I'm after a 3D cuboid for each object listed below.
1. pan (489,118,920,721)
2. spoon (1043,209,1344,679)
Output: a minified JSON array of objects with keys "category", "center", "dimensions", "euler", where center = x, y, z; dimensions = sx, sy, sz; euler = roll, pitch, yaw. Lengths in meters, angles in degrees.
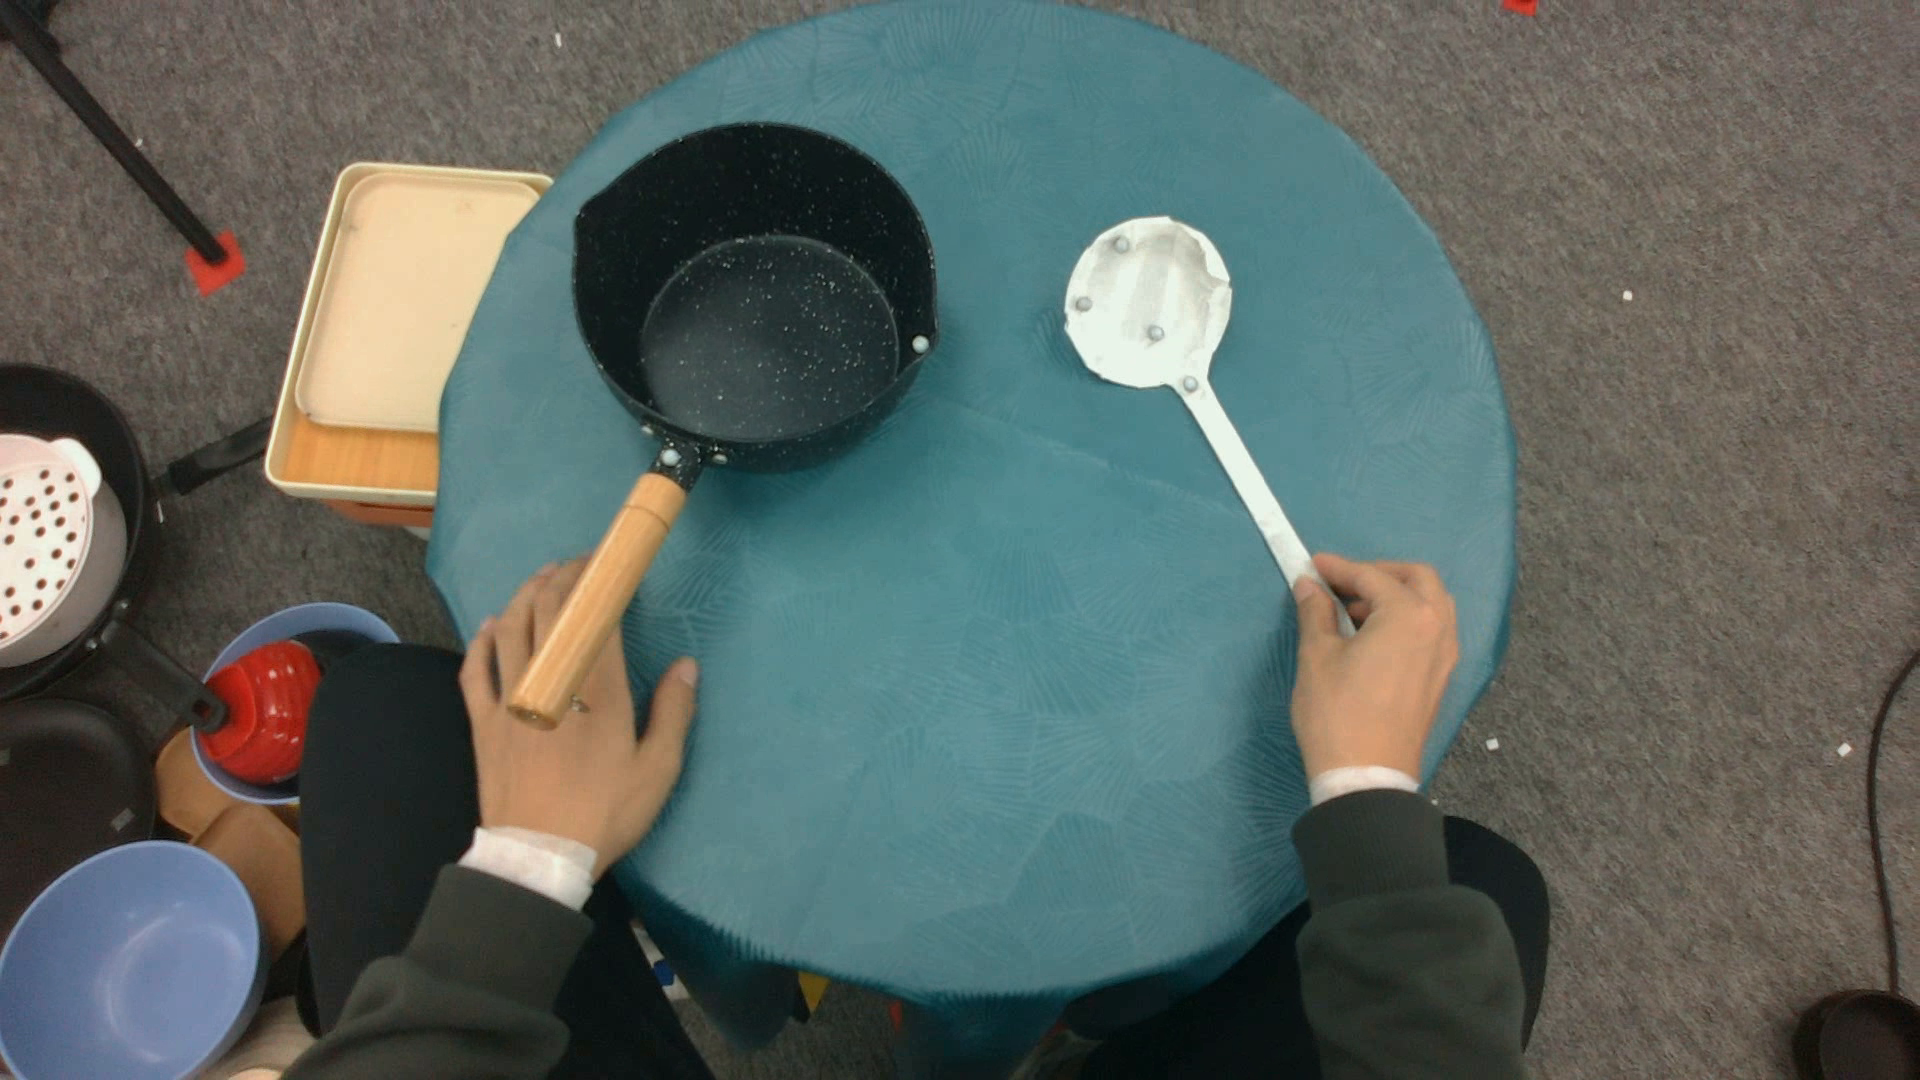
[{"category":"pan","center":[-0.142,-0.057,0.706],"dimensions":[0.207,0.108,0.344],"euler":[18,69,3]},{"category":"spoon","center":[0.131,-0.050,0.744],"dimensions":[0.100,0.059,0.278],"euler":[-28,74,10]}]
